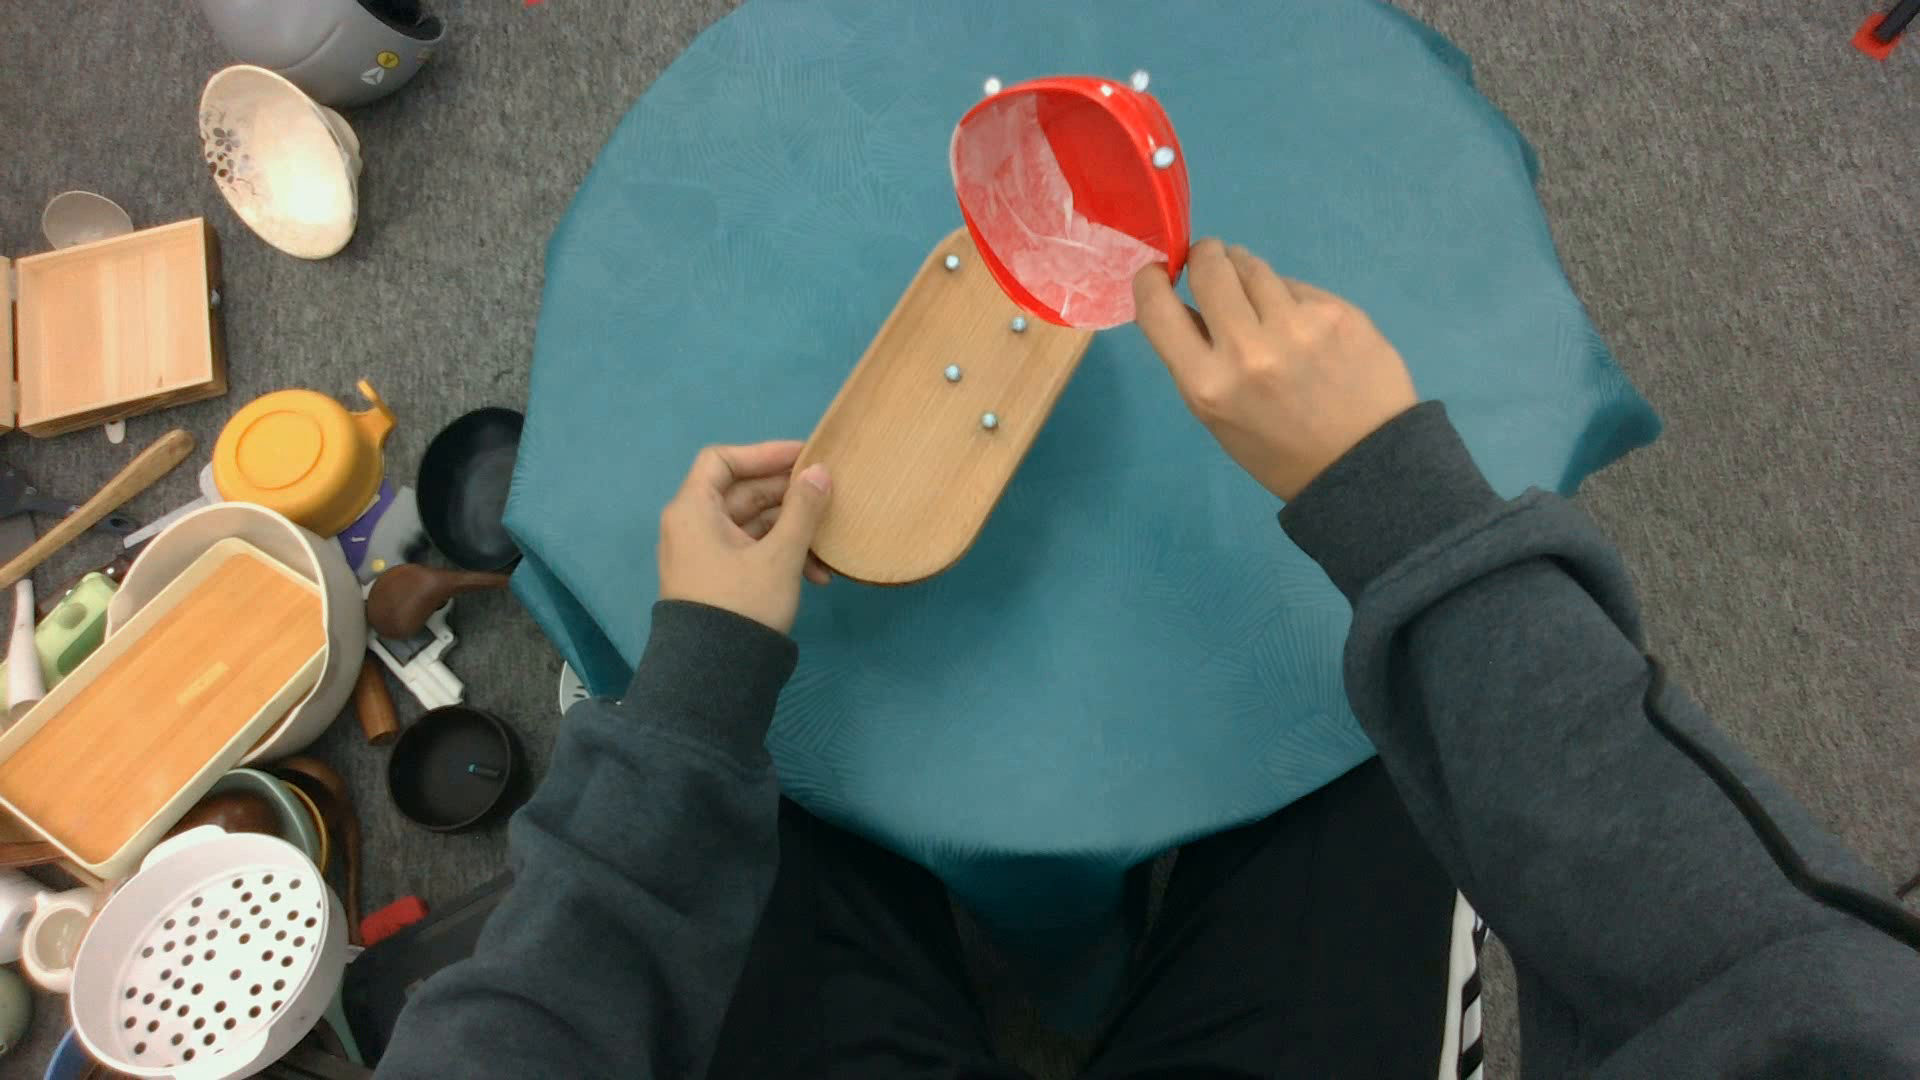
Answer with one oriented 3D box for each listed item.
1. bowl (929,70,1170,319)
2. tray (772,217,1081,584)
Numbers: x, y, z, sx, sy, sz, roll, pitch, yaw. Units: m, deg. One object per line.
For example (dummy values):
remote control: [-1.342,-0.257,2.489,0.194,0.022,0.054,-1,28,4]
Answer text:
bowl: [0.048,-0.158,0.606,0.119,0.118,0.051,35,52,14]
tray: [-0.013,-0.078,0.714,0.101,0.020,0.232,24,69,10]
